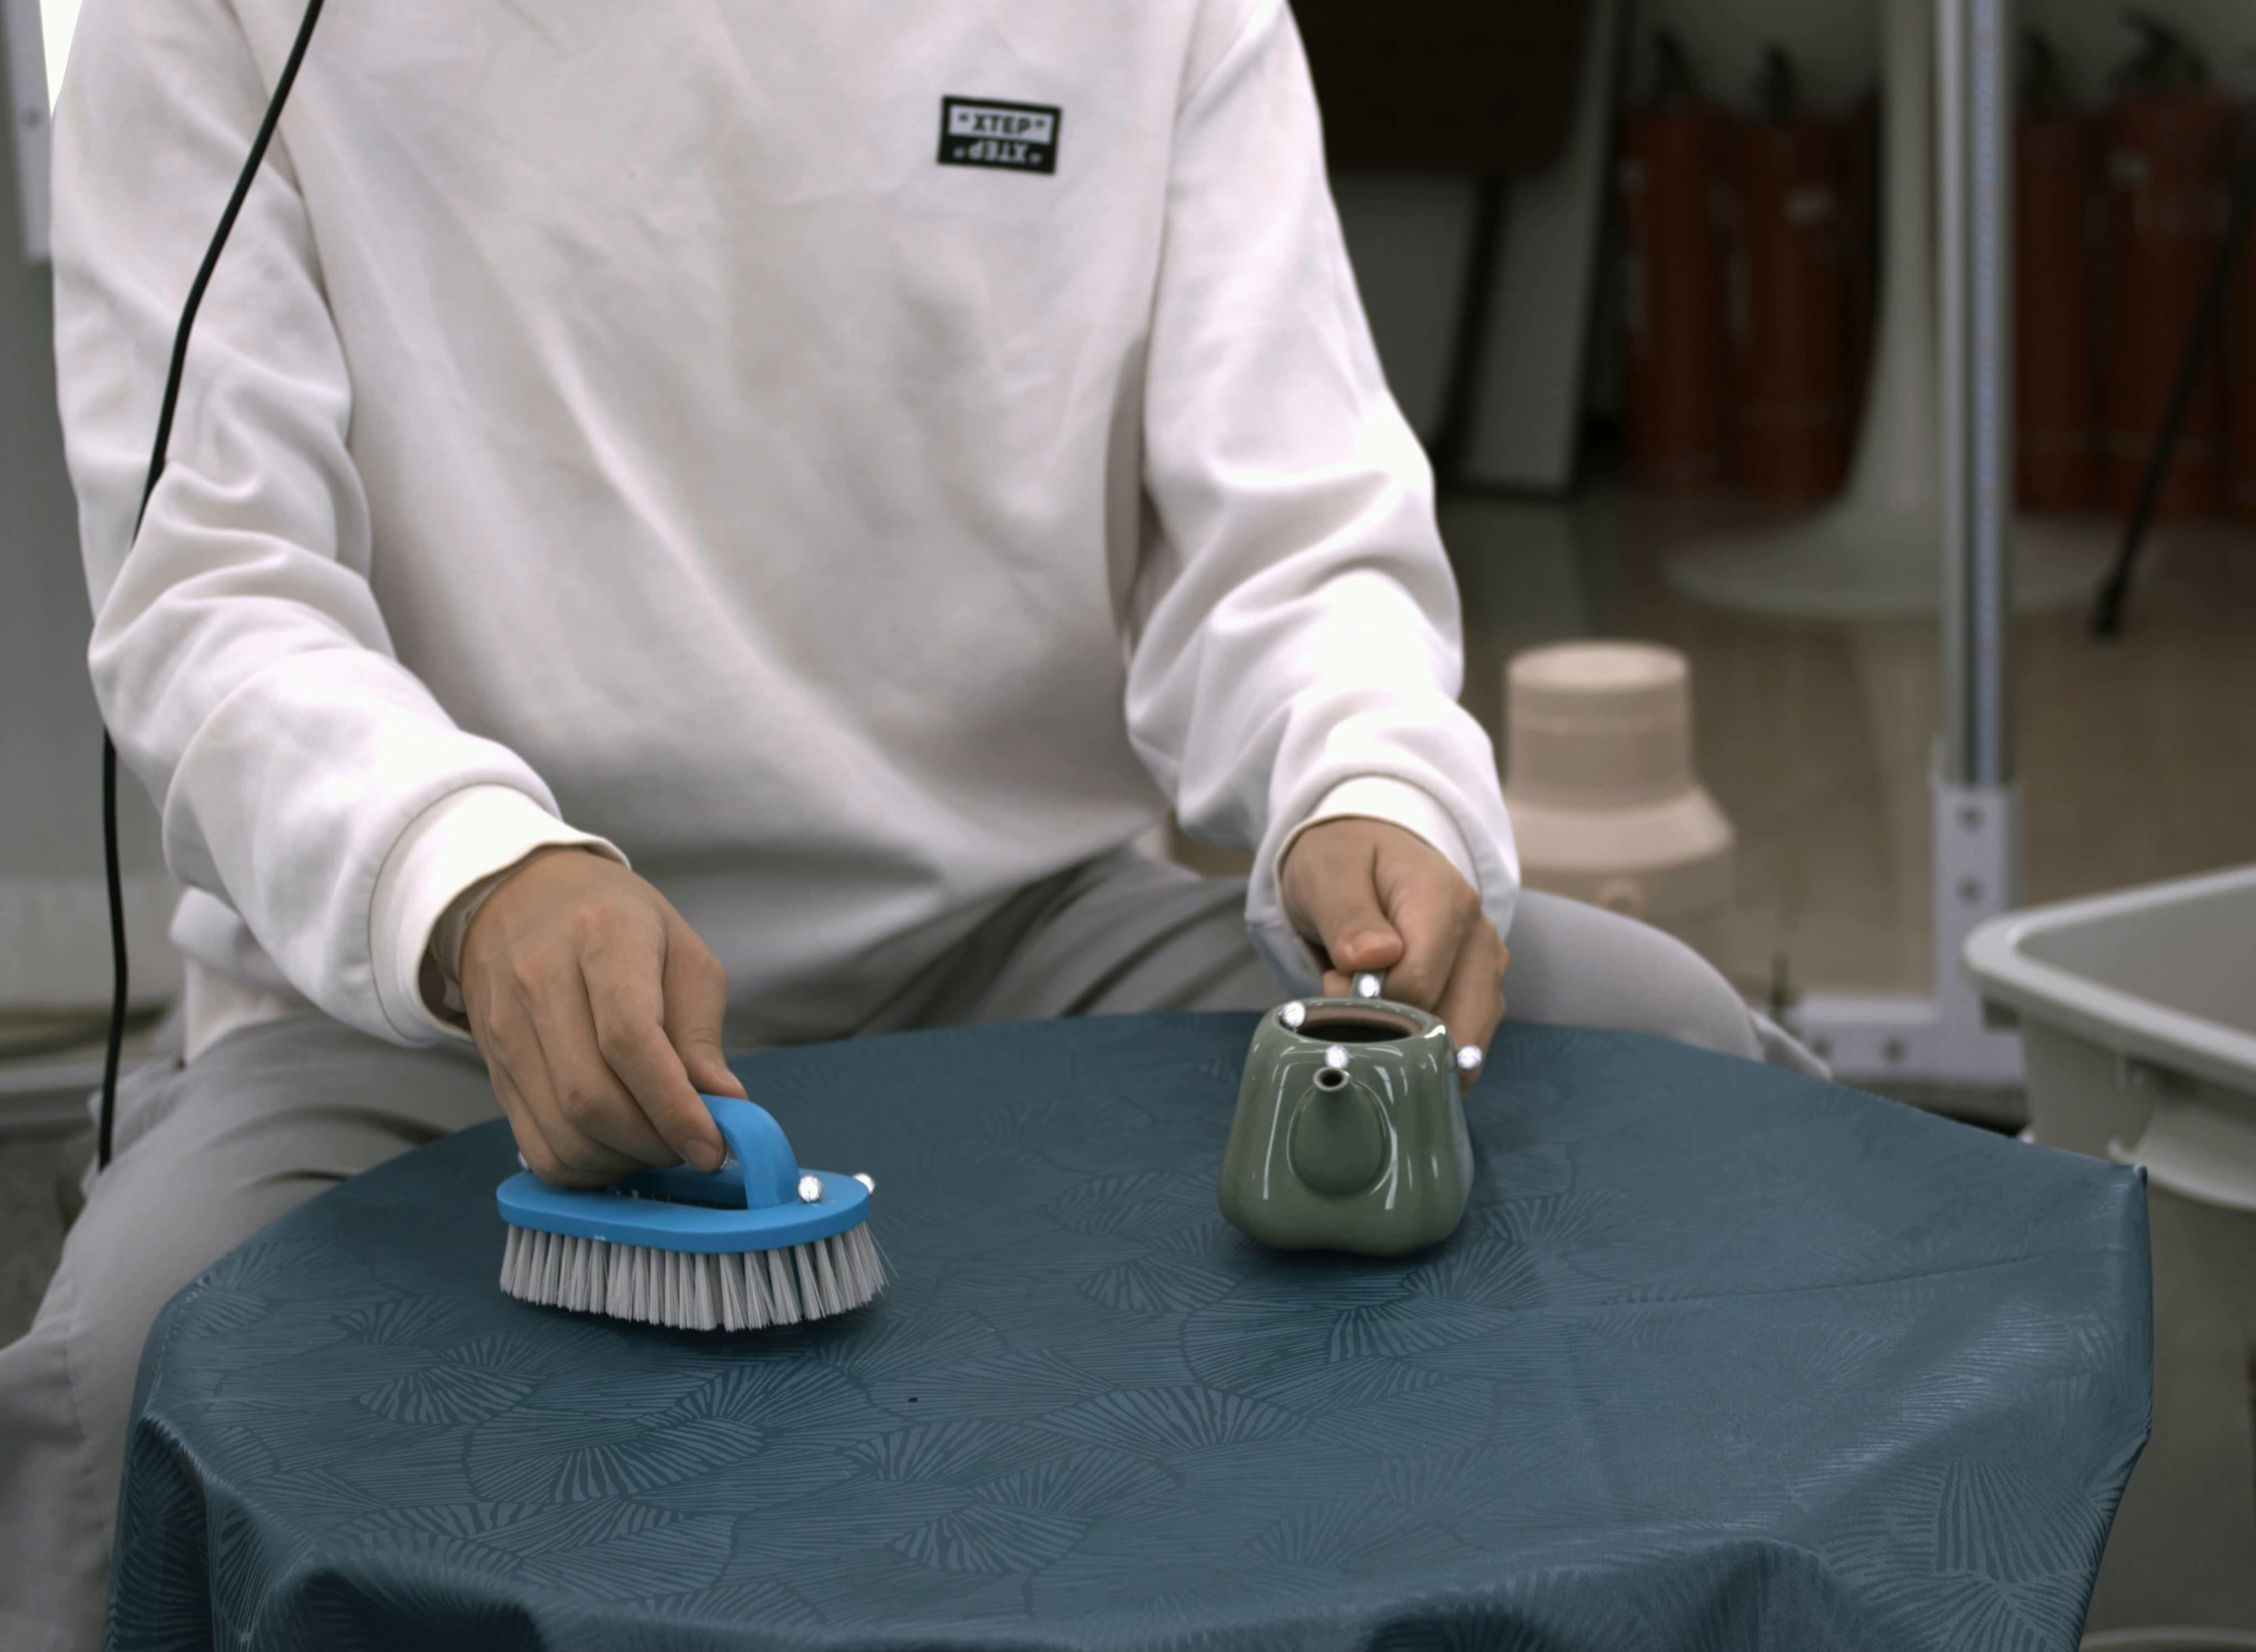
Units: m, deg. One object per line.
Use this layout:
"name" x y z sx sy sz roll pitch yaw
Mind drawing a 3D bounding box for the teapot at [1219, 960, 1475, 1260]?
"teapot" 0.071 0.093 1.706 0.079 0.076 0.132 5 15 9

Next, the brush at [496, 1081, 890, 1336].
"brush" -0.140 0.113 1.687 0.143 0.064 0.083 3 16 44
